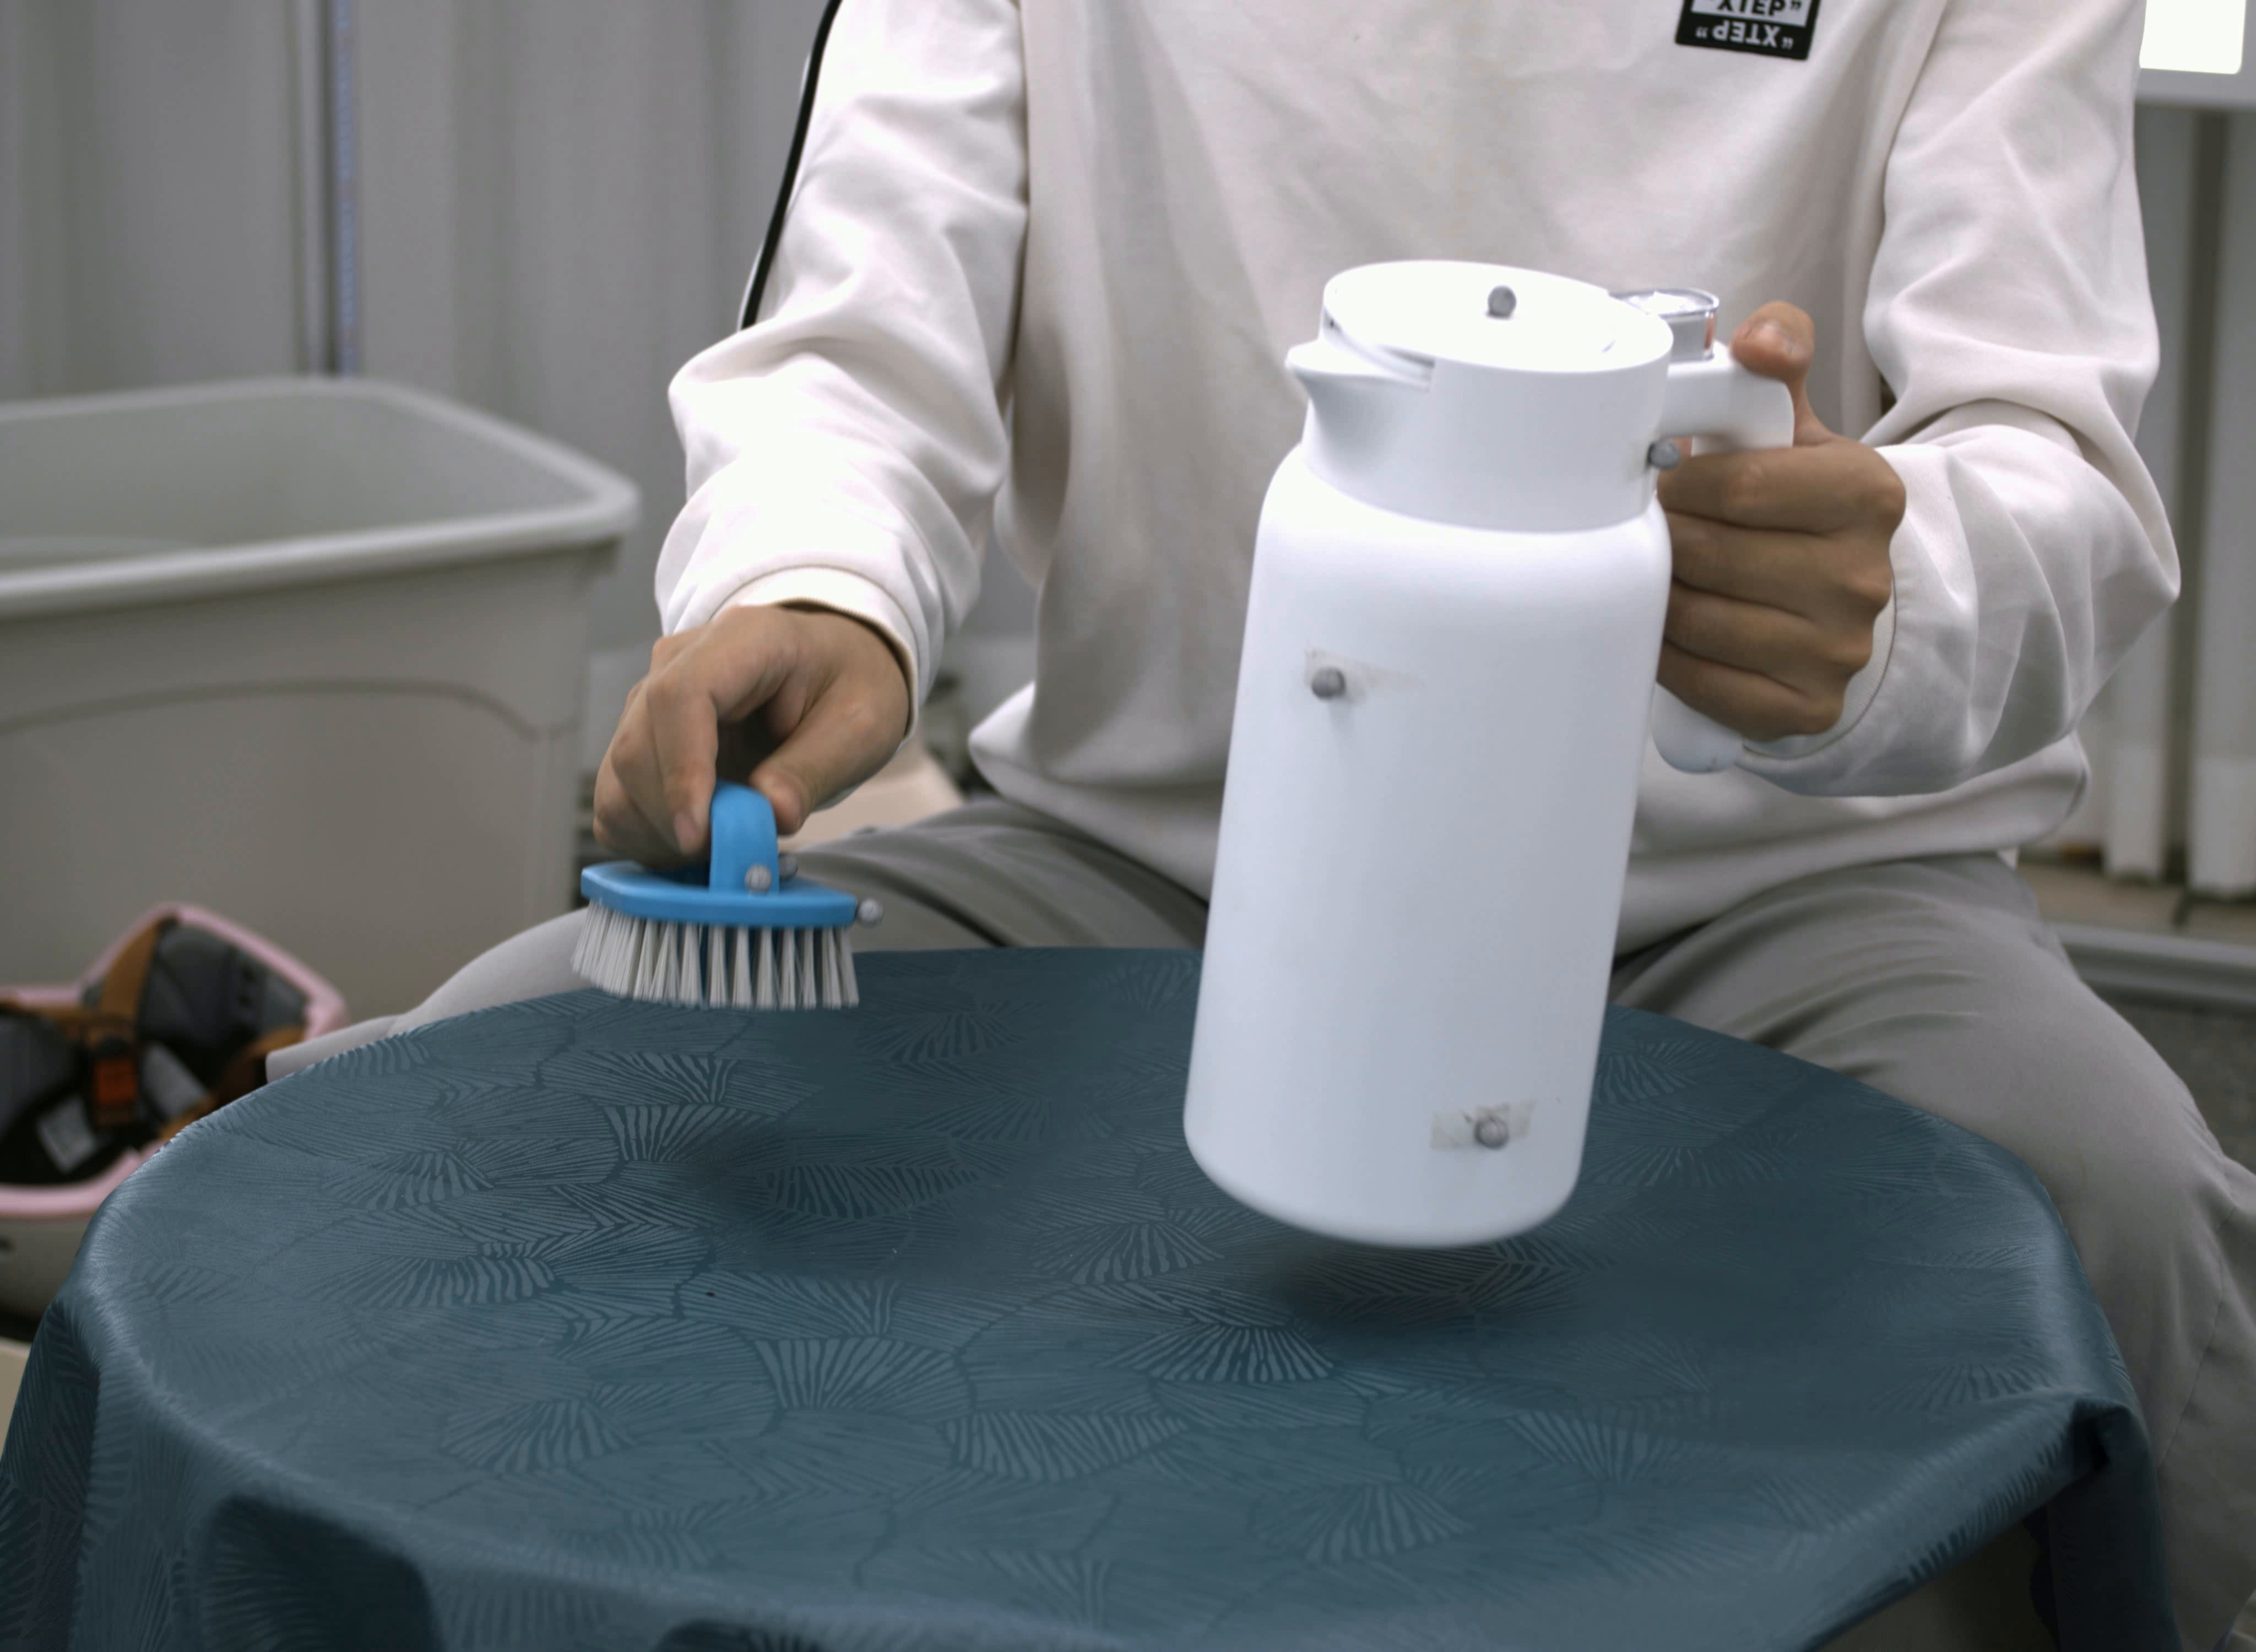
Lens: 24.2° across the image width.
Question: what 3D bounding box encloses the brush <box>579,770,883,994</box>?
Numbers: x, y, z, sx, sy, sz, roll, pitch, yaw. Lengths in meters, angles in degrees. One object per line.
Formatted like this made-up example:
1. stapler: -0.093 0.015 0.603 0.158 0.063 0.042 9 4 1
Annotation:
1. brush: -0.125 0.015 1.621 0.084 0.064 0.141 -3 3 -14

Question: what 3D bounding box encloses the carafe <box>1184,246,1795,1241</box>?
1. carafe: 0.102 -0.025 1.511 0.174 0.271 0.122 -8 25 -33
